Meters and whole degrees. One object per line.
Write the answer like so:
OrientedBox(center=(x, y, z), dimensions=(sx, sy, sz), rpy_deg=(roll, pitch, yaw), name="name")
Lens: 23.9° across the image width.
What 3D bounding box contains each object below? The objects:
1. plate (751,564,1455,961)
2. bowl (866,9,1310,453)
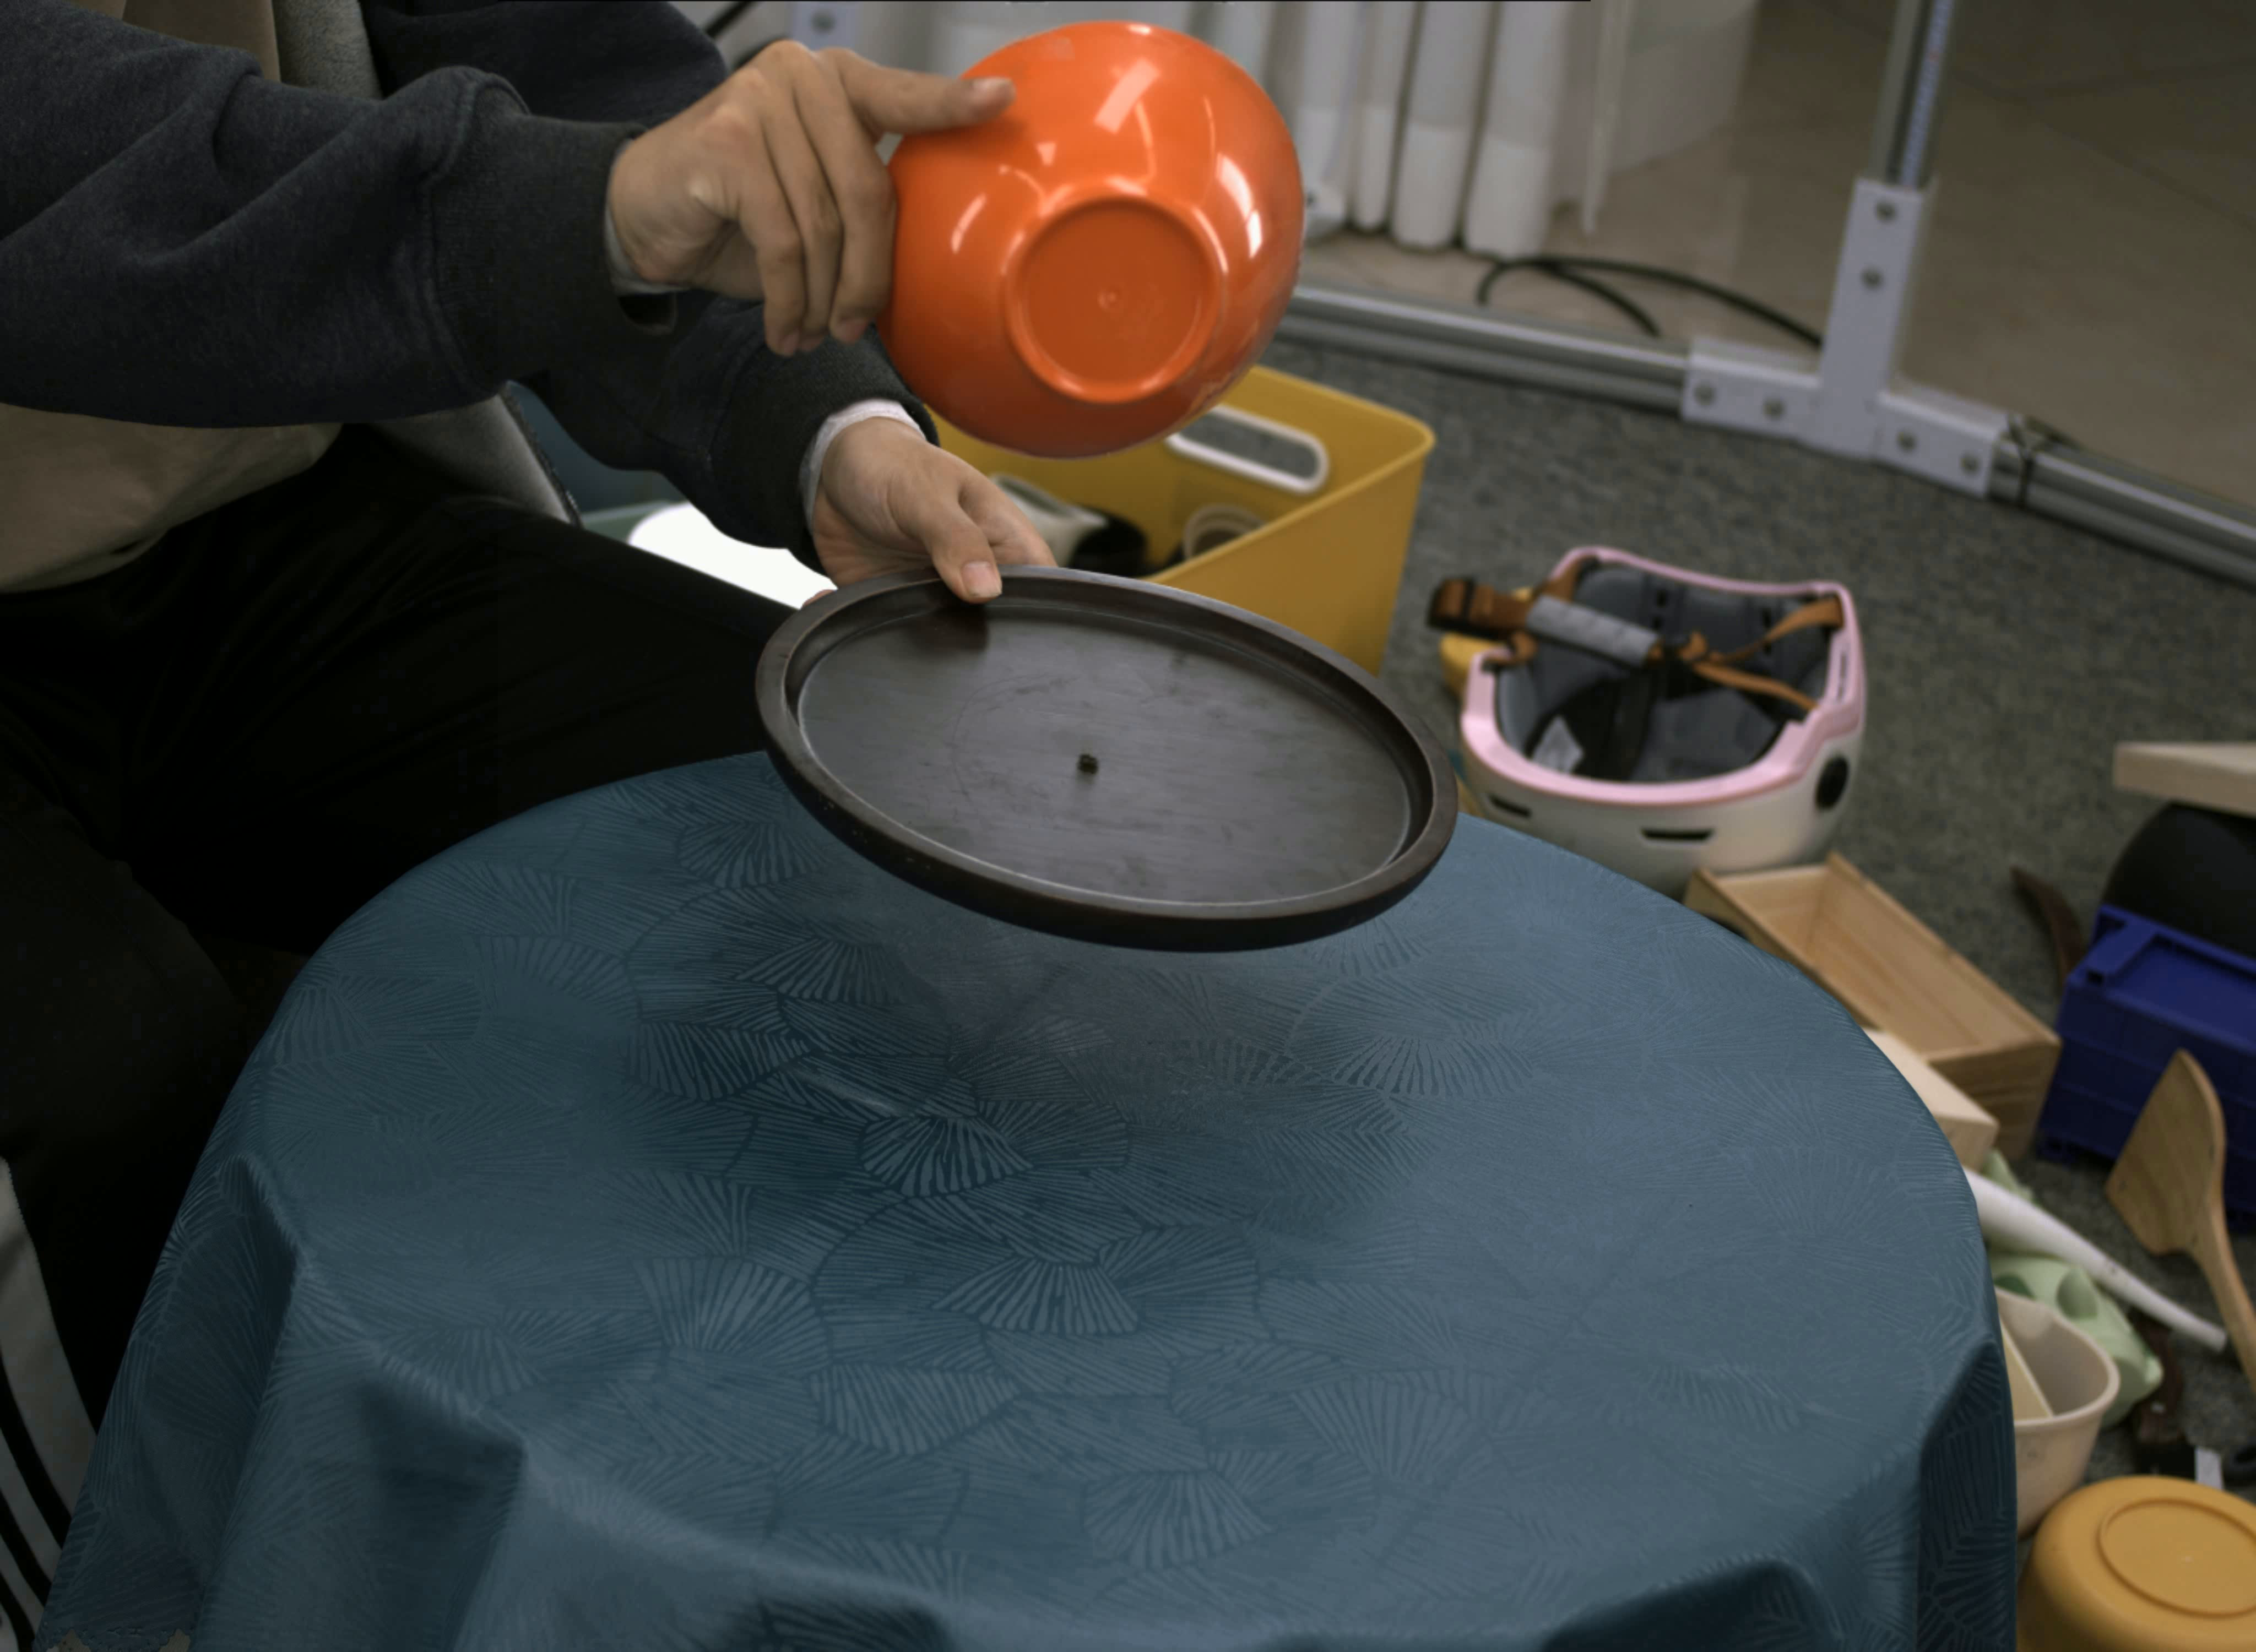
OrientedBox(center=(-0.009, -0.024, 1.874), dimensions=(0.254, 0.029, 0.256), rpy_deg=(8, 29, -5), name="plate")
OrientedBox(center=(-0.005, -0.175, 1.662), dimensions=(0.147, 0.148, 0.105), rpy_deg=(2, 19, -11), name="bowl")
